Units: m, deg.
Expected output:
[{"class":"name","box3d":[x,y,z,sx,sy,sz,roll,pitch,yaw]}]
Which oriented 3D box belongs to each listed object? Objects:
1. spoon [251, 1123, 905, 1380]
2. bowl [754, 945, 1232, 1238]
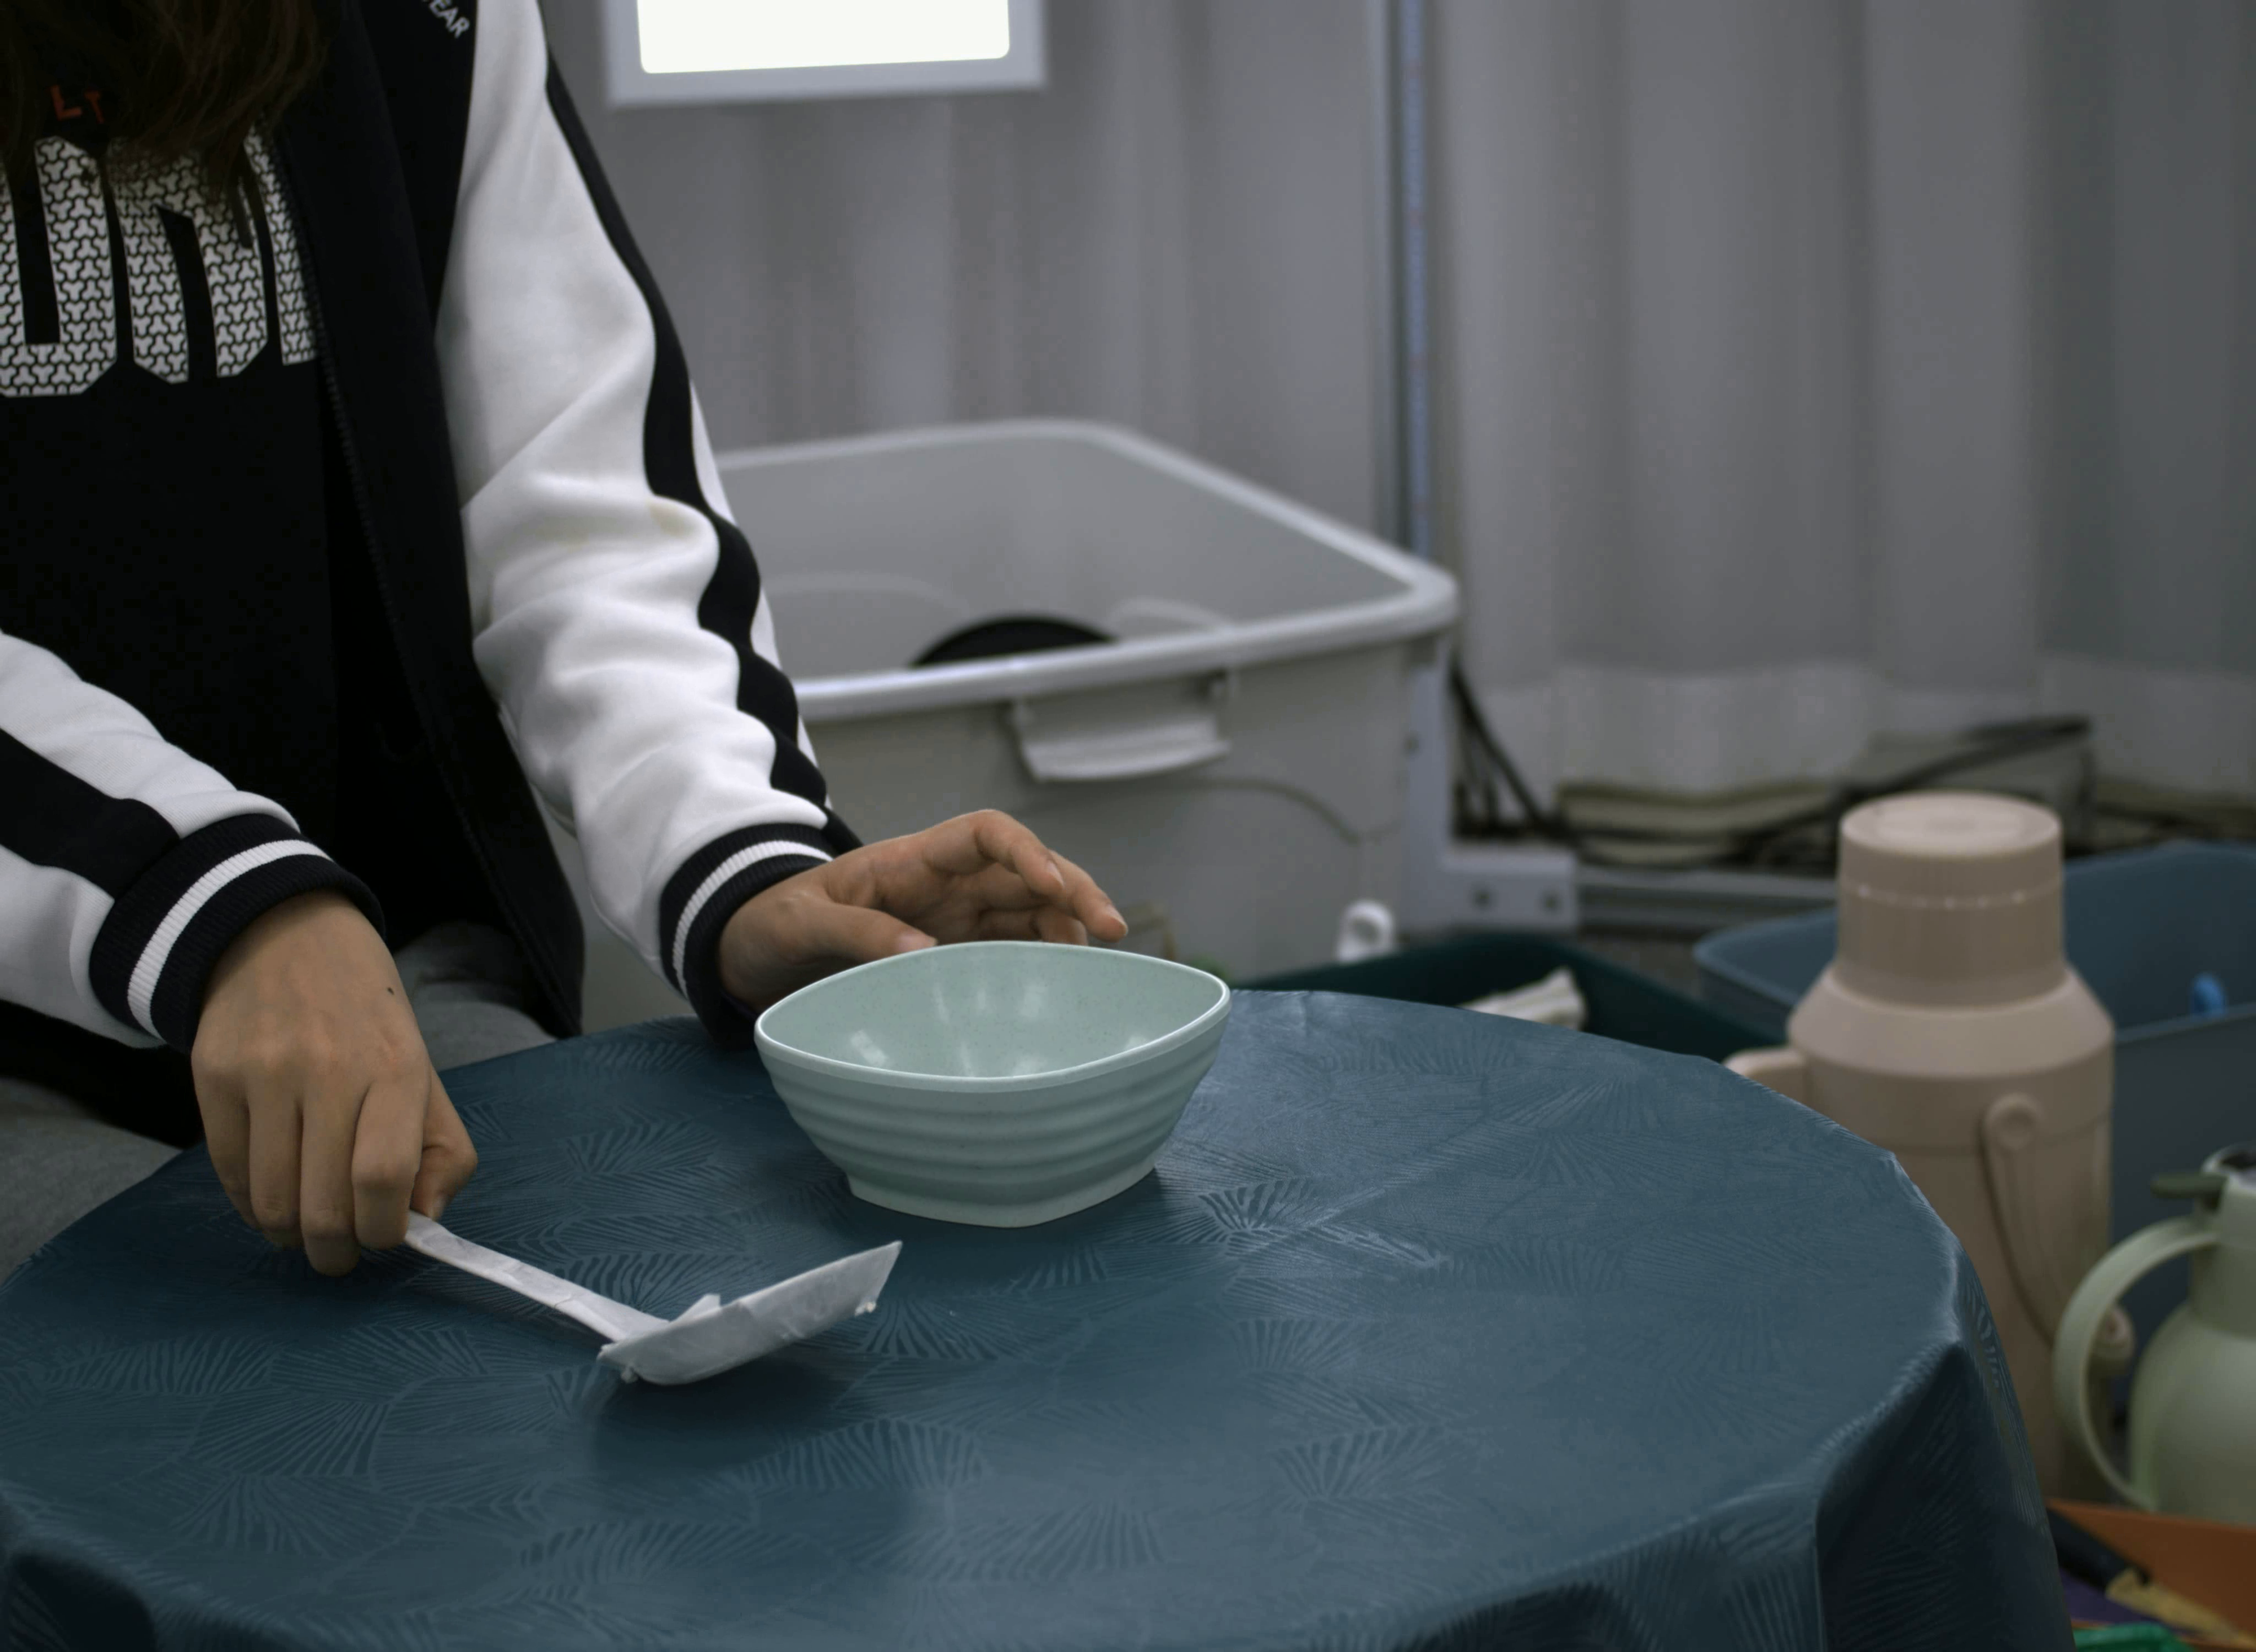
[{"class":"spoon","box3d":[-0.173,0.109,1.628,0.100,0.059,0.279,-7,21,-42]},{"class":"bowl","box3d":[-0.041,0.087,1.726,0.151,0.058,0.152,-3,15,0]}]
